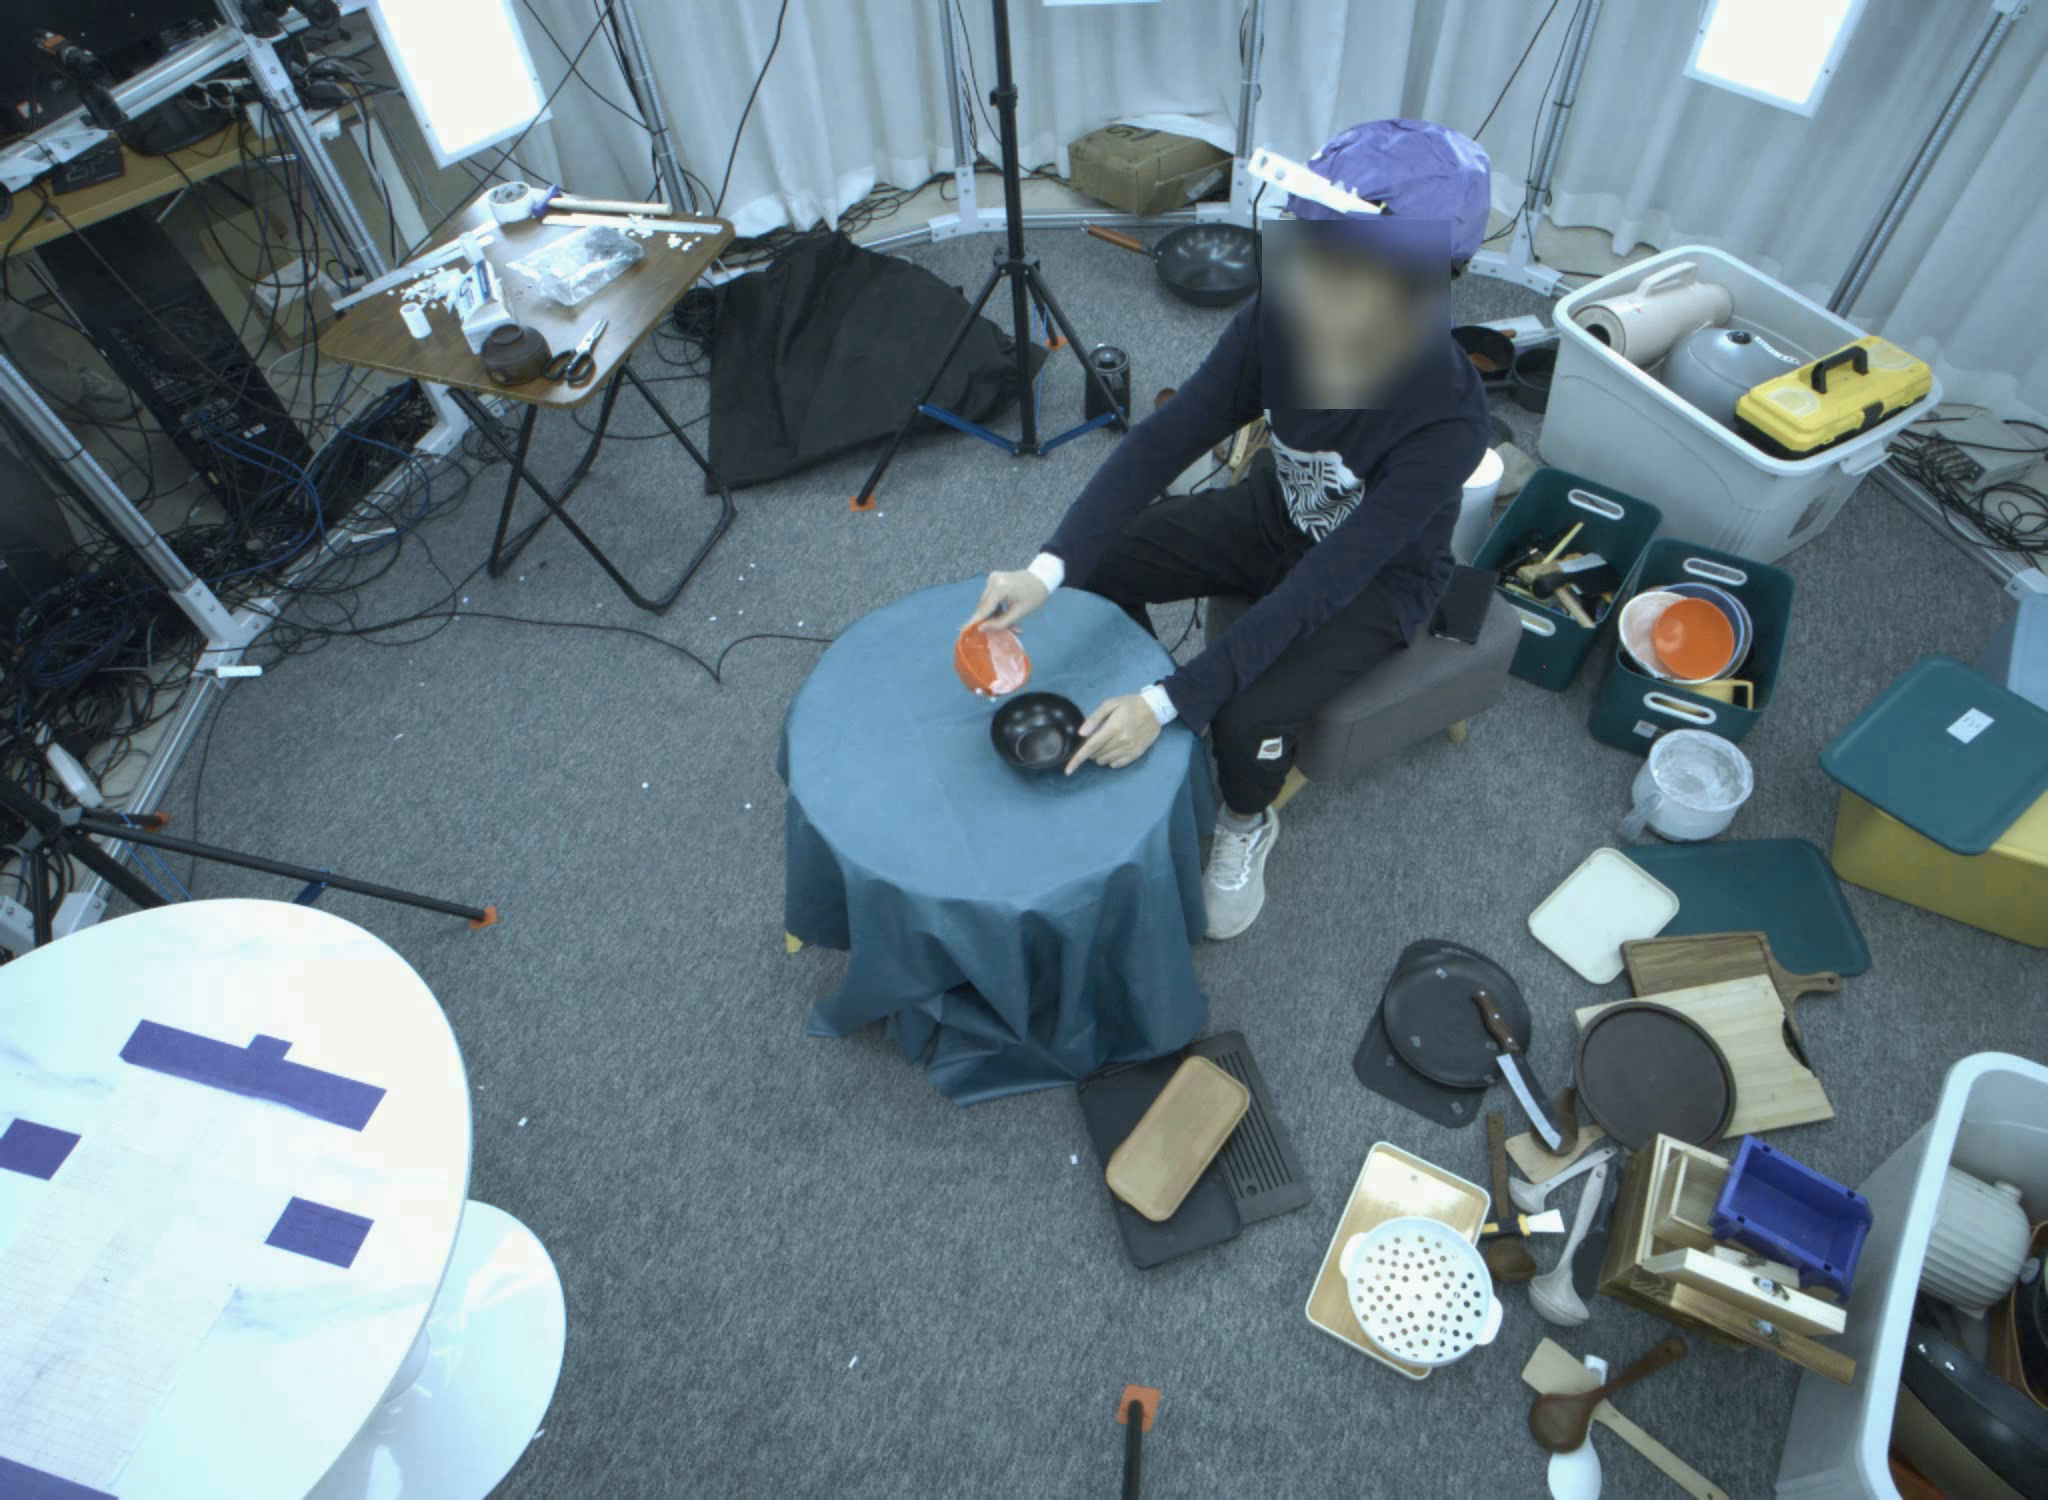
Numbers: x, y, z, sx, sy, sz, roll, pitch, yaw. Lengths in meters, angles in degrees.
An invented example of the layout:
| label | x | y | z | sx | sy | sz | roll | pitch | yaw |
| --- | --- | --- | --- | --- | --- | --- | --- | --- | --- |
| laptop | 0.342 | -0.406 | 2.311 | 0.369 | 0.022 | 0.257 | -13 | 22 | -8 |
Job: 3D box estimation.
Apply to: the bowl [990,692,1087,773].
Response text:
| label | x | y | z | sx | sy | sz | roll | pitch | yaw |
| --- | --- | --- | --- | --- | --- | --- | --- | --- | --- |
| bowl | 0.021 | -0.016 | 1.780 | 0.140 | 0.050 | 0.138 | 2 | 51 | -1 |

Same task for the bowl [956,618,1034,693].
| label | x | y | z | sx | sy | sz | roll | pitch | yaw |
| --- | --- | --- | --- | --- | --- | --- | --- | --- | --- |
| bowl | -0.049 | -0.124 | 1.726 | 0.121 | 0.051 | 0.118 | 18 | 54 | -25 |
